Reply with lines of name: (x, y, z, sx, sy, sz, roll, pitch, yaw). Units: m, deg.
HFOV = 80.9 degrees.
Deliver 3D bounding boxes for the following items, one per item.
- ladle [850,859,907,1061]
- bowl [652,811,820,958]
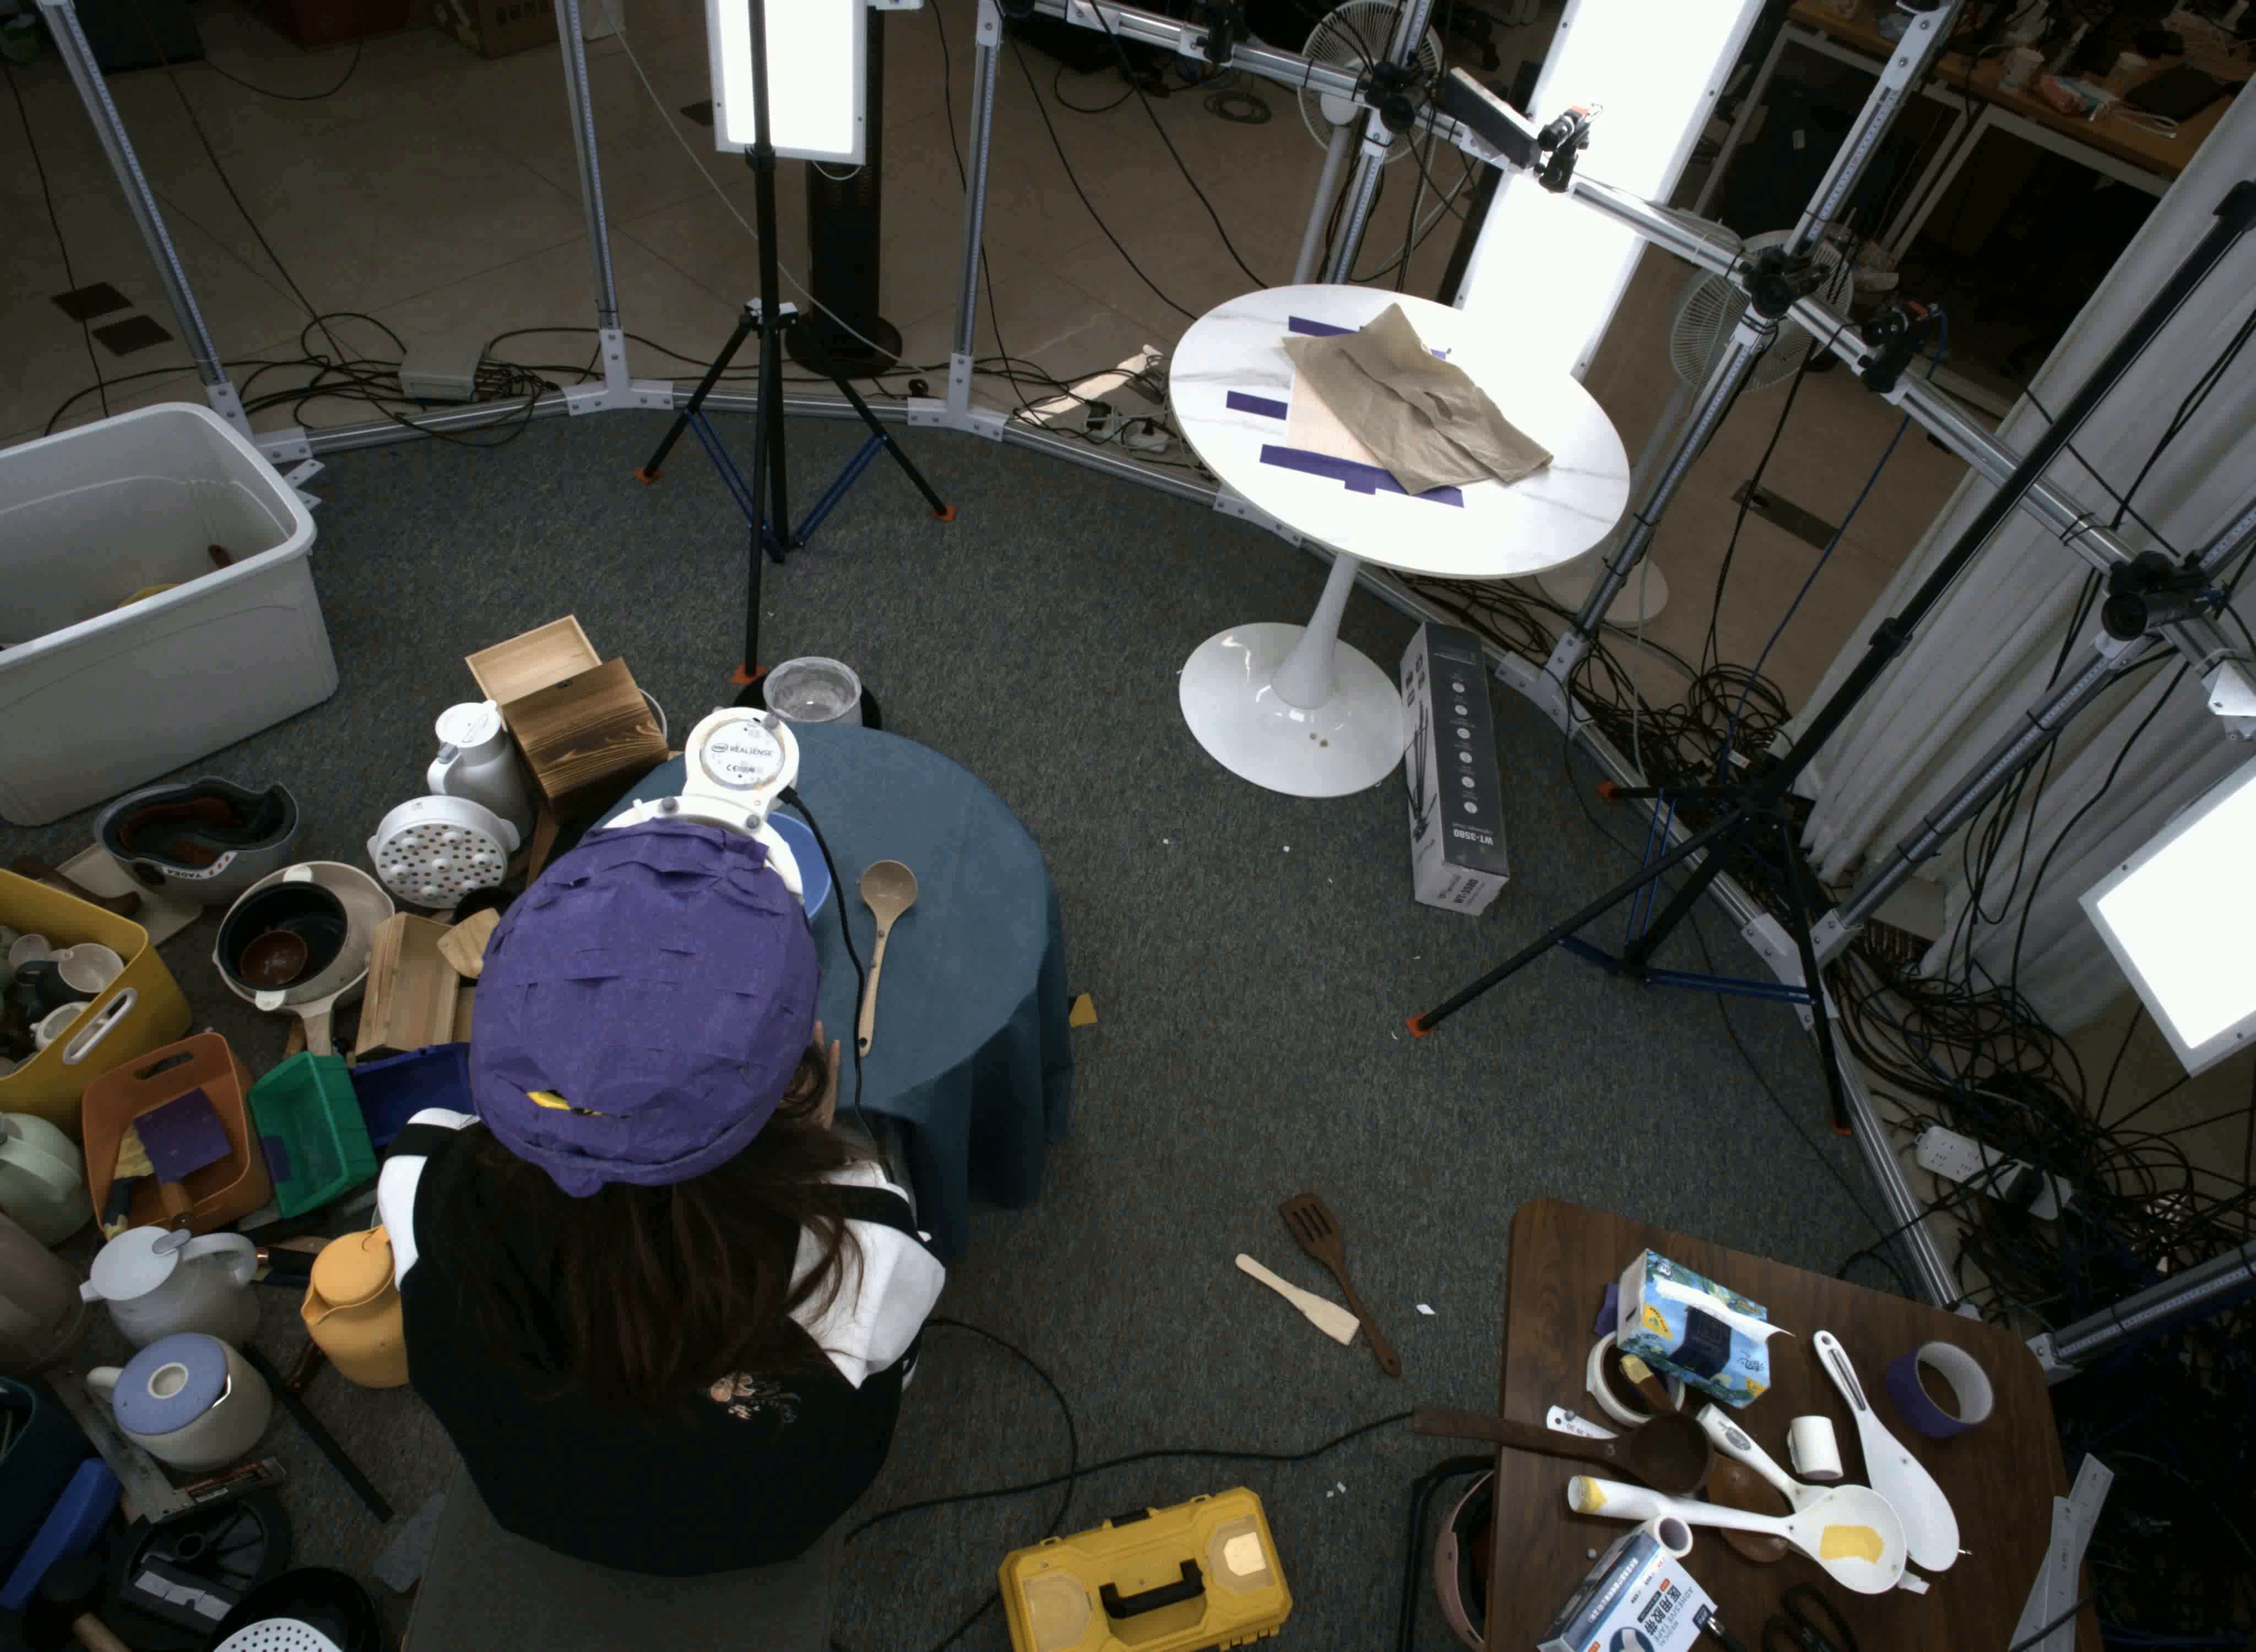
ladle: (-0.314, 0.153, 1.586, 0.072, 0.074, 0.249, 5, 53, -8)
bowl: (-0.474, 0.085, 1.578, 0.196, 0.097, 0.193, 7, 49, -7)
